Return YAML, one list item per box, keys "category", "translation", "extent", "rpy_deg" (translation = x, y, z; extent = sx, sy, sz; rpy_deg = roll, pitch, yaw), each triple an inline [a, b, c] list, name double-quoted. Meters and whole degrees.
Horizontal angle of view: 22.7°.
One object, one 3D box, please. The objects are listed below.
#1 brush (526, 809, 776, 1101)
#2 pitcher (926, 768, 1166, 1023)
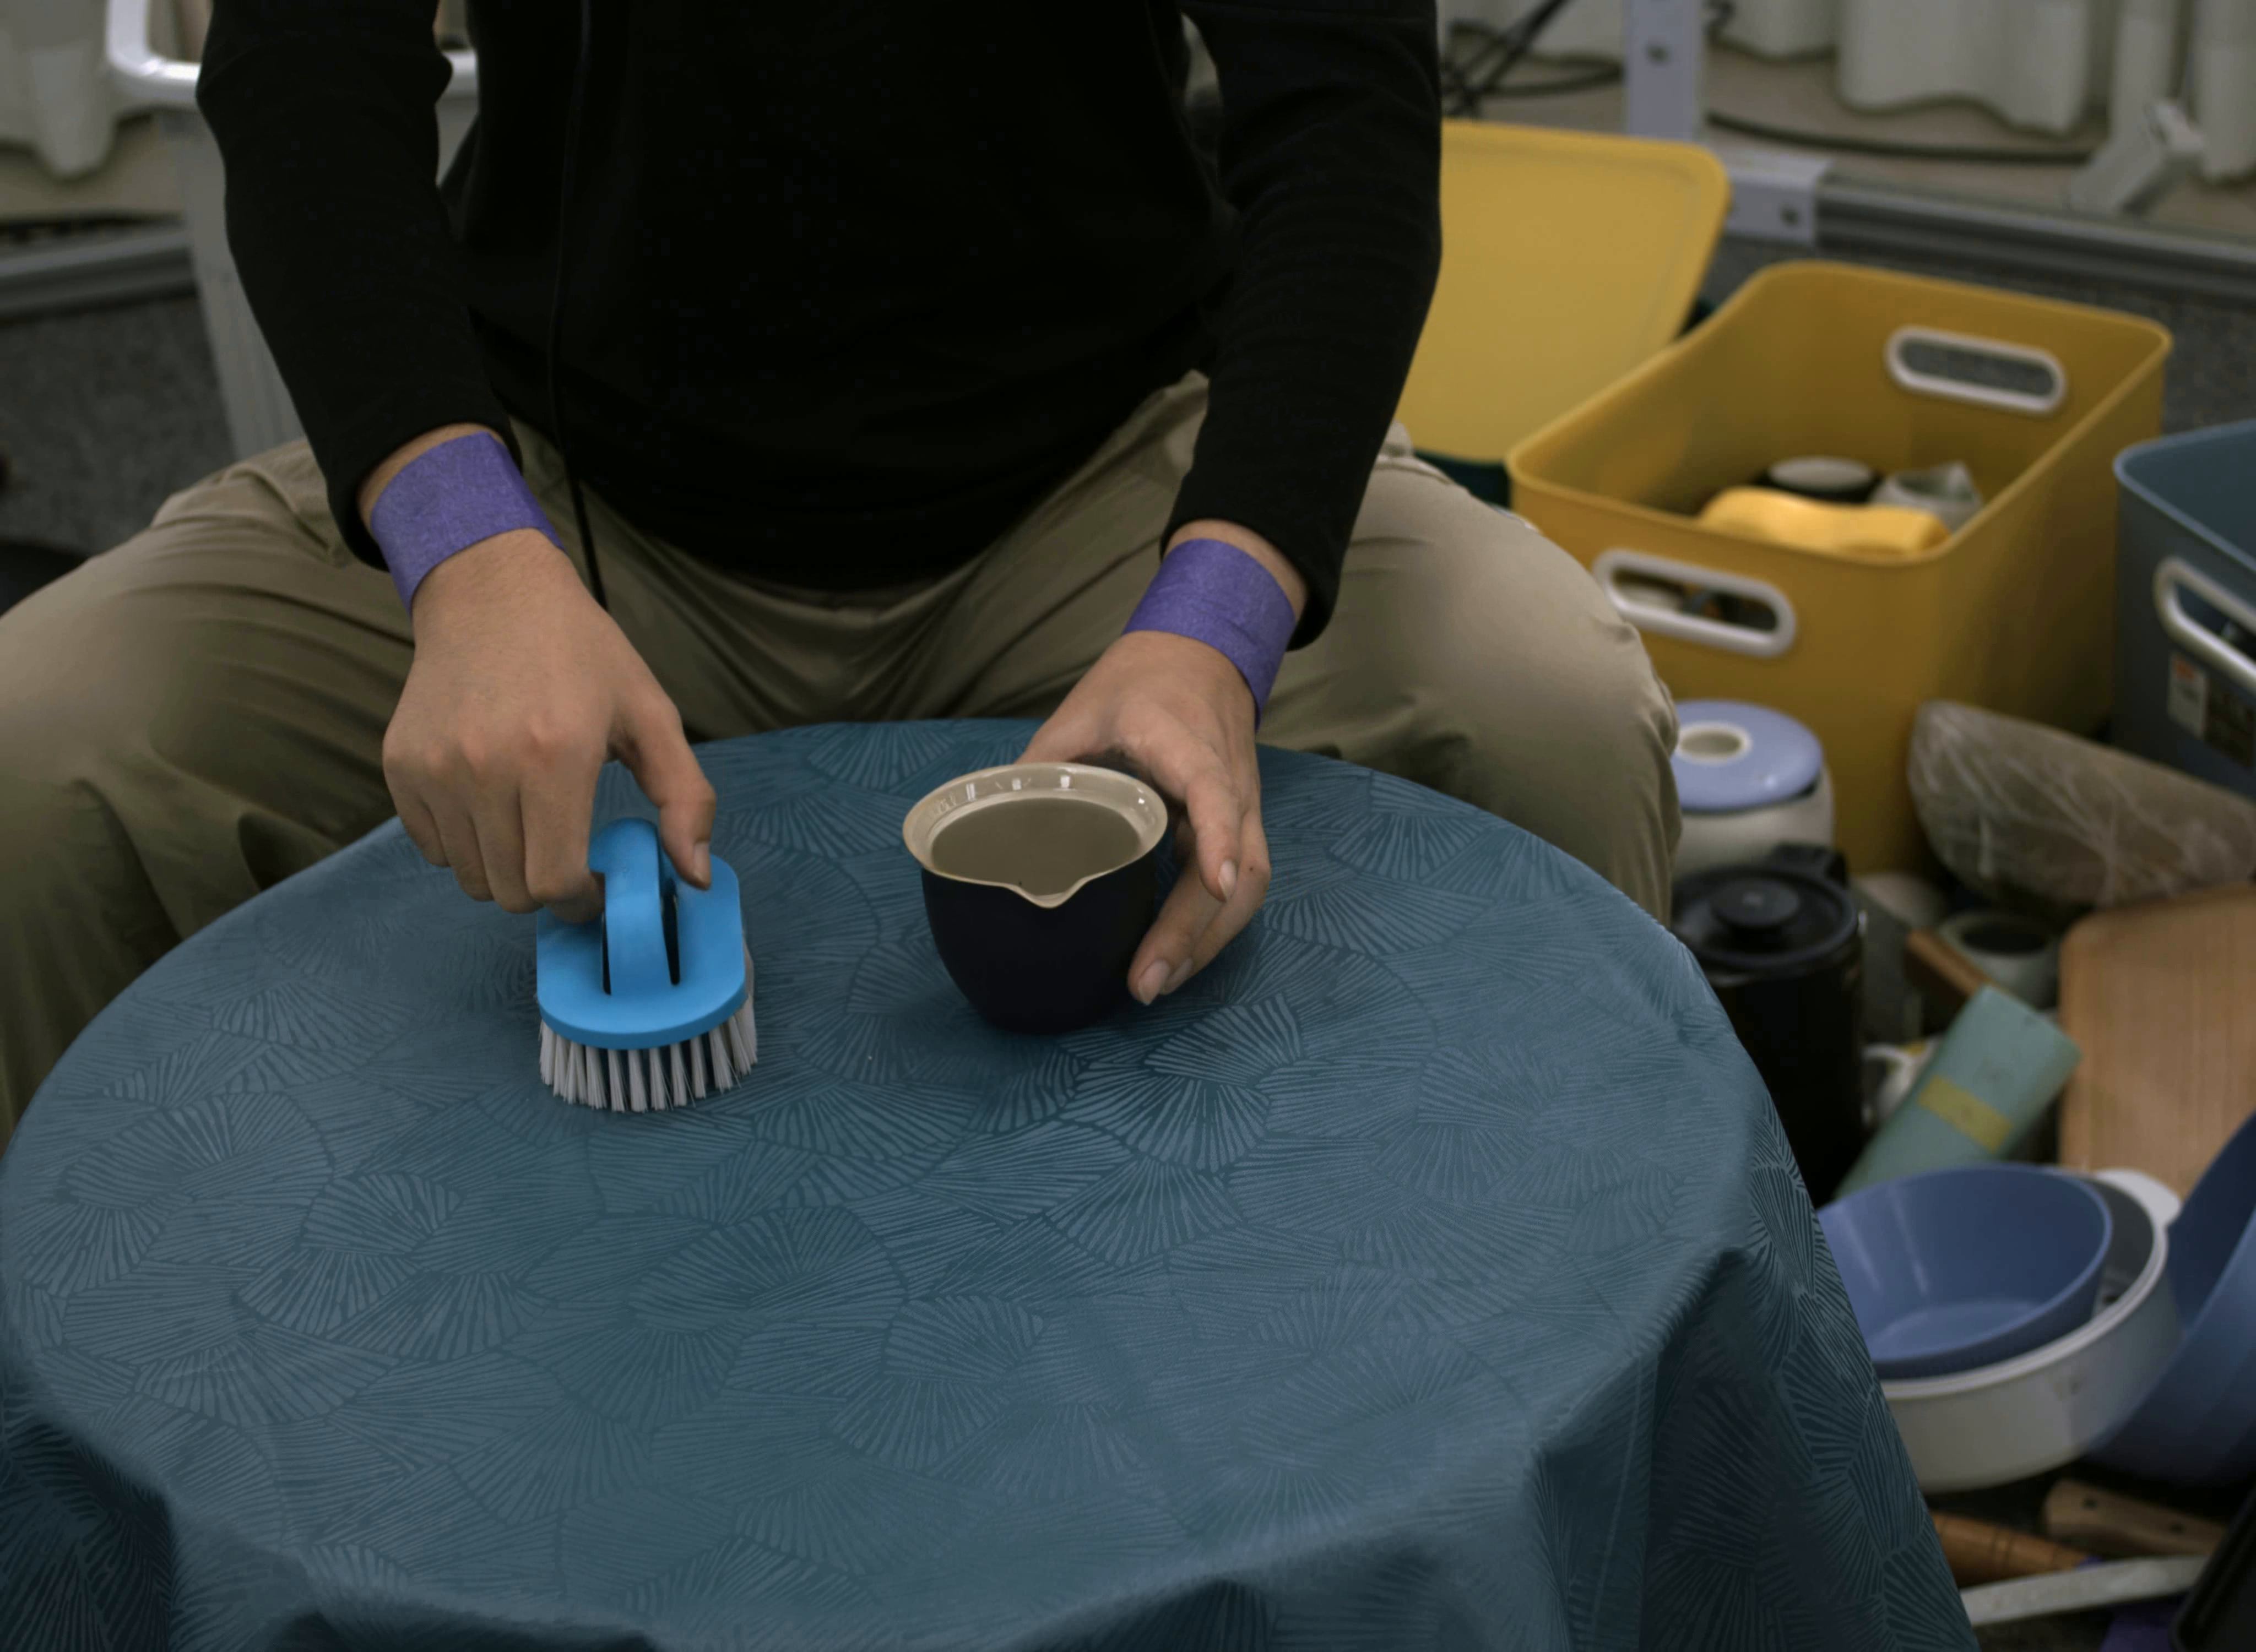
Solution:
- category: "brush"
  translation: [-0.169, 0.037, 1.970]
  extent: [0.084, 0.063, 0.144]
  rpy_deg: [-8, 26, 0]
- category: "pitcher"
  translation: [-0.028, 0.029, 1.963]
  extent: [0.083, 0.070, 0.097]
  rpy_deg: [-2, 29, 0]
